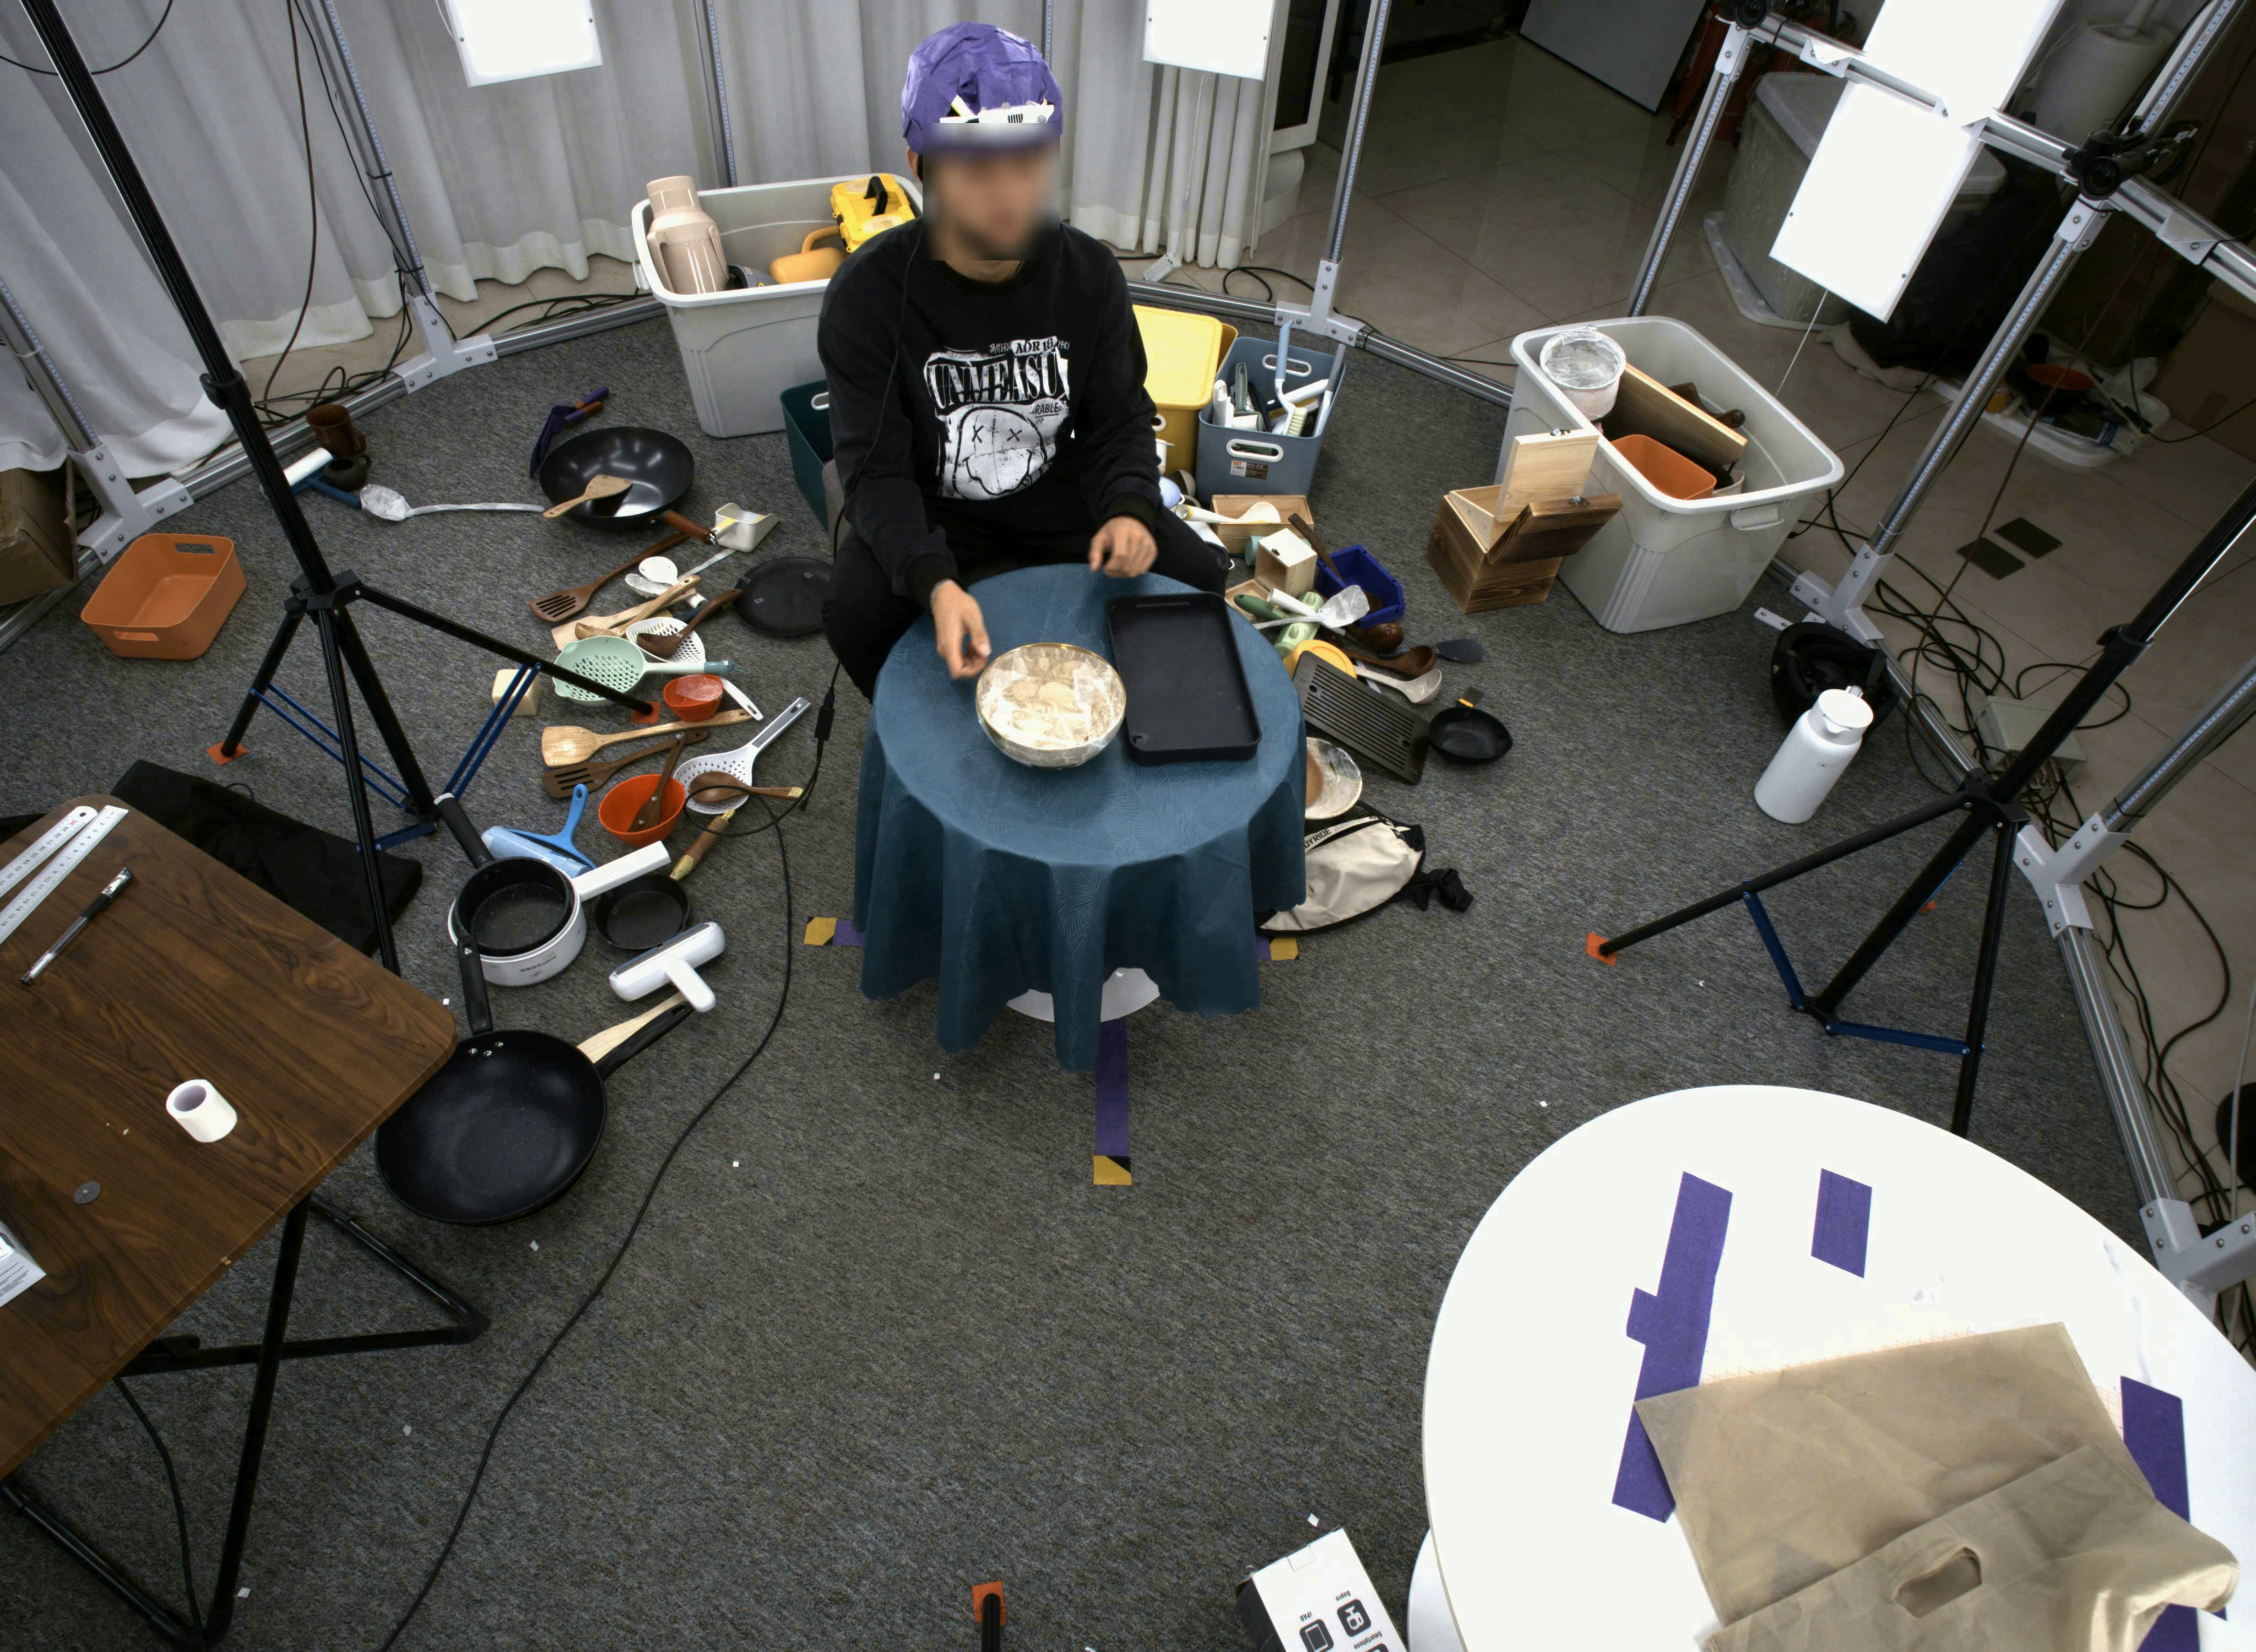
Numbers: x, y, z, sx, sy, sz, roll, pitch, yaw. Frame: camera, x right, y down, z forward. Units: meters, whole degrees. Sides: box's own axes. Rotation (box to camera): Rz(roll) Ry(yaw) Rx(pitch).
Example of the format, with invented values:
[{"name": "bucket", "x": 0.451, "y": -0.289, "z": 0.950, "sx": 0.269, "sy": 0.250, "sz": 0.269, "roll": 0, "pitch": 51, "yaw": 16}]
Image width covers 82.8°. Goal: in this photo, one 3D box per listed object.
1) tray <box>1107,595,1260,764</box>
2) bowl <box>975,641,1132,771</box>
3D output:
[{"name": "tray", "x": 0.075, "y": -0.217, "z": 1.851, "sx": 0.184, "sy": 0.036, "sz": 0.326, "roll": -4, "pitch": 47, "yaw": -5}, {"name": "bowl", "x": -0.102, "y": -0.149, "z": 1.748, "sx": 0.214, "sy": 0.092, "sz": 0.220, "roll": 1, "pitch": 49, "yaw": -1}]
